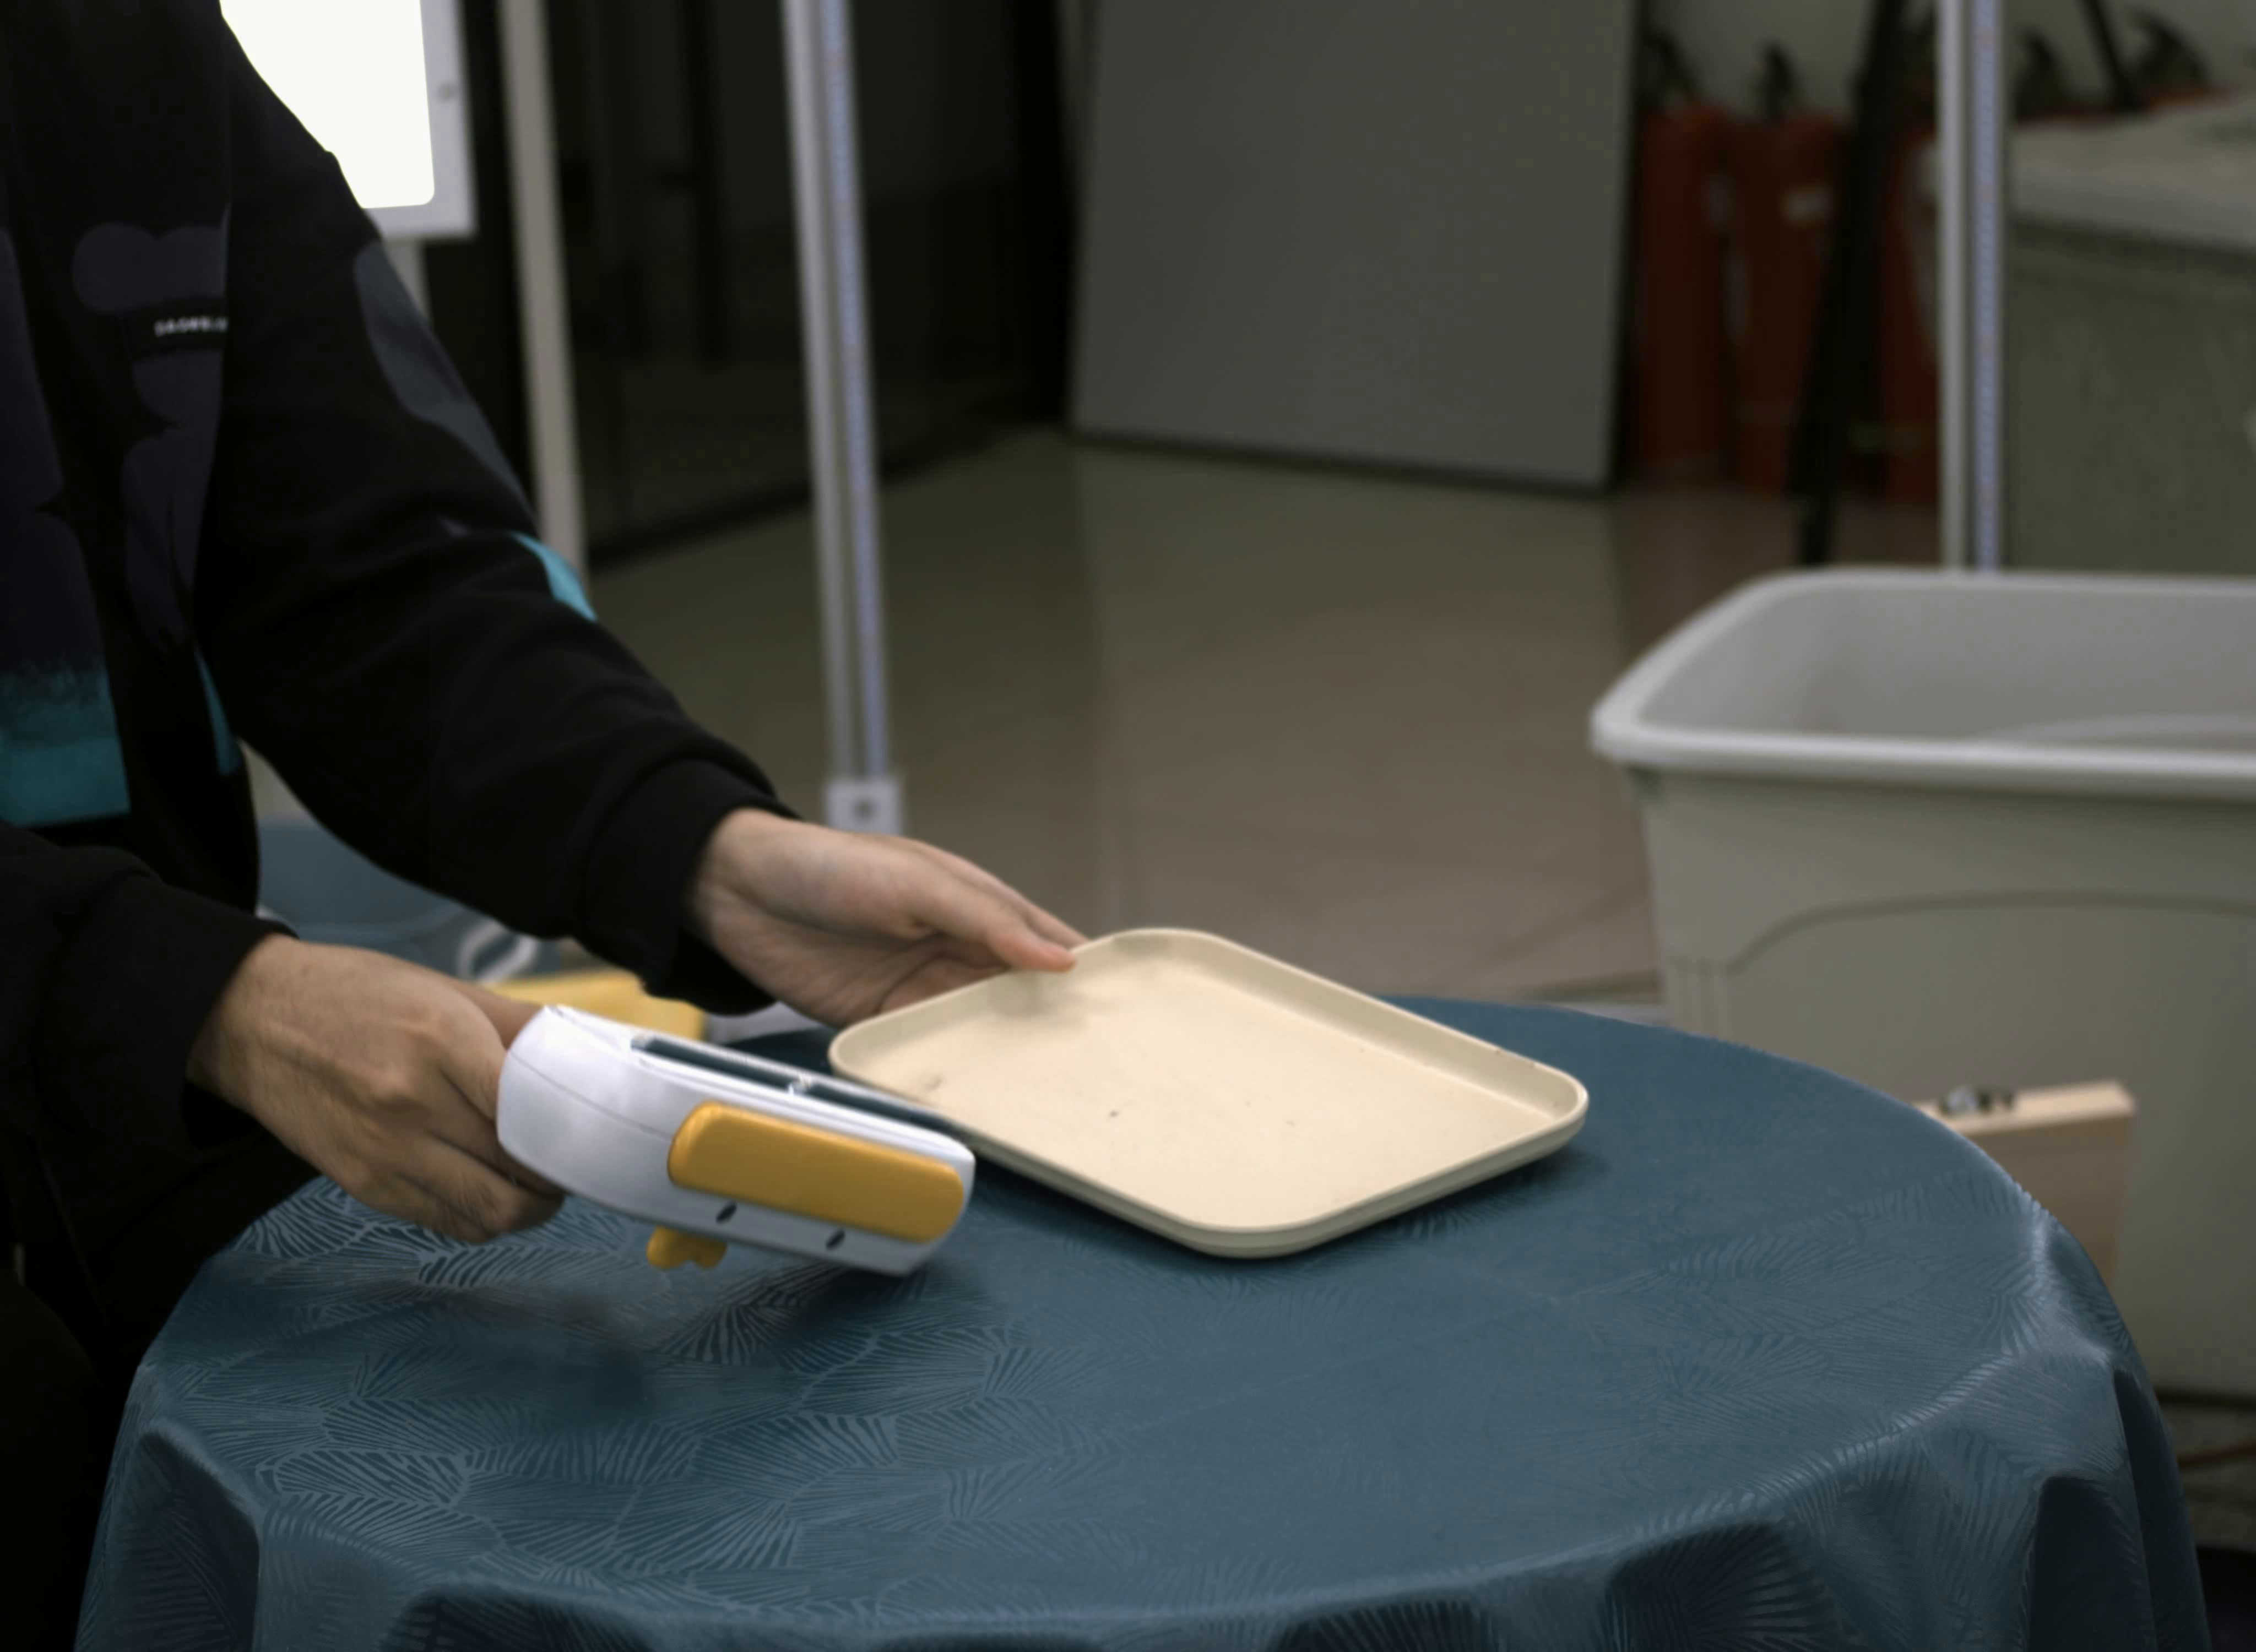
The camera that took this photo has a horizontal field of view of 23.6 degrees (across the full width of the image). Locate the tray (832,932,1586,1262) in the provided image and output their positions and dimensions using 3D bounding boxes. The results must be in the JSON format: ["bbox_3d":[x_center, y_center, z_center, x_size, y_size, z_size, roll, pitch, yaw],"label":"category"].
[{"bbox_3d":[0.025,0.089,1.811,0.168,0.017,0.242,-18,24,-34],"label":"tray"}]

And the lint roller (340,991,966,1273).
[{"bbox_3d":[-0.168,0.088,1.682,0.194,0.075,0.189,16,1,39],"label":"lint roller"}]
